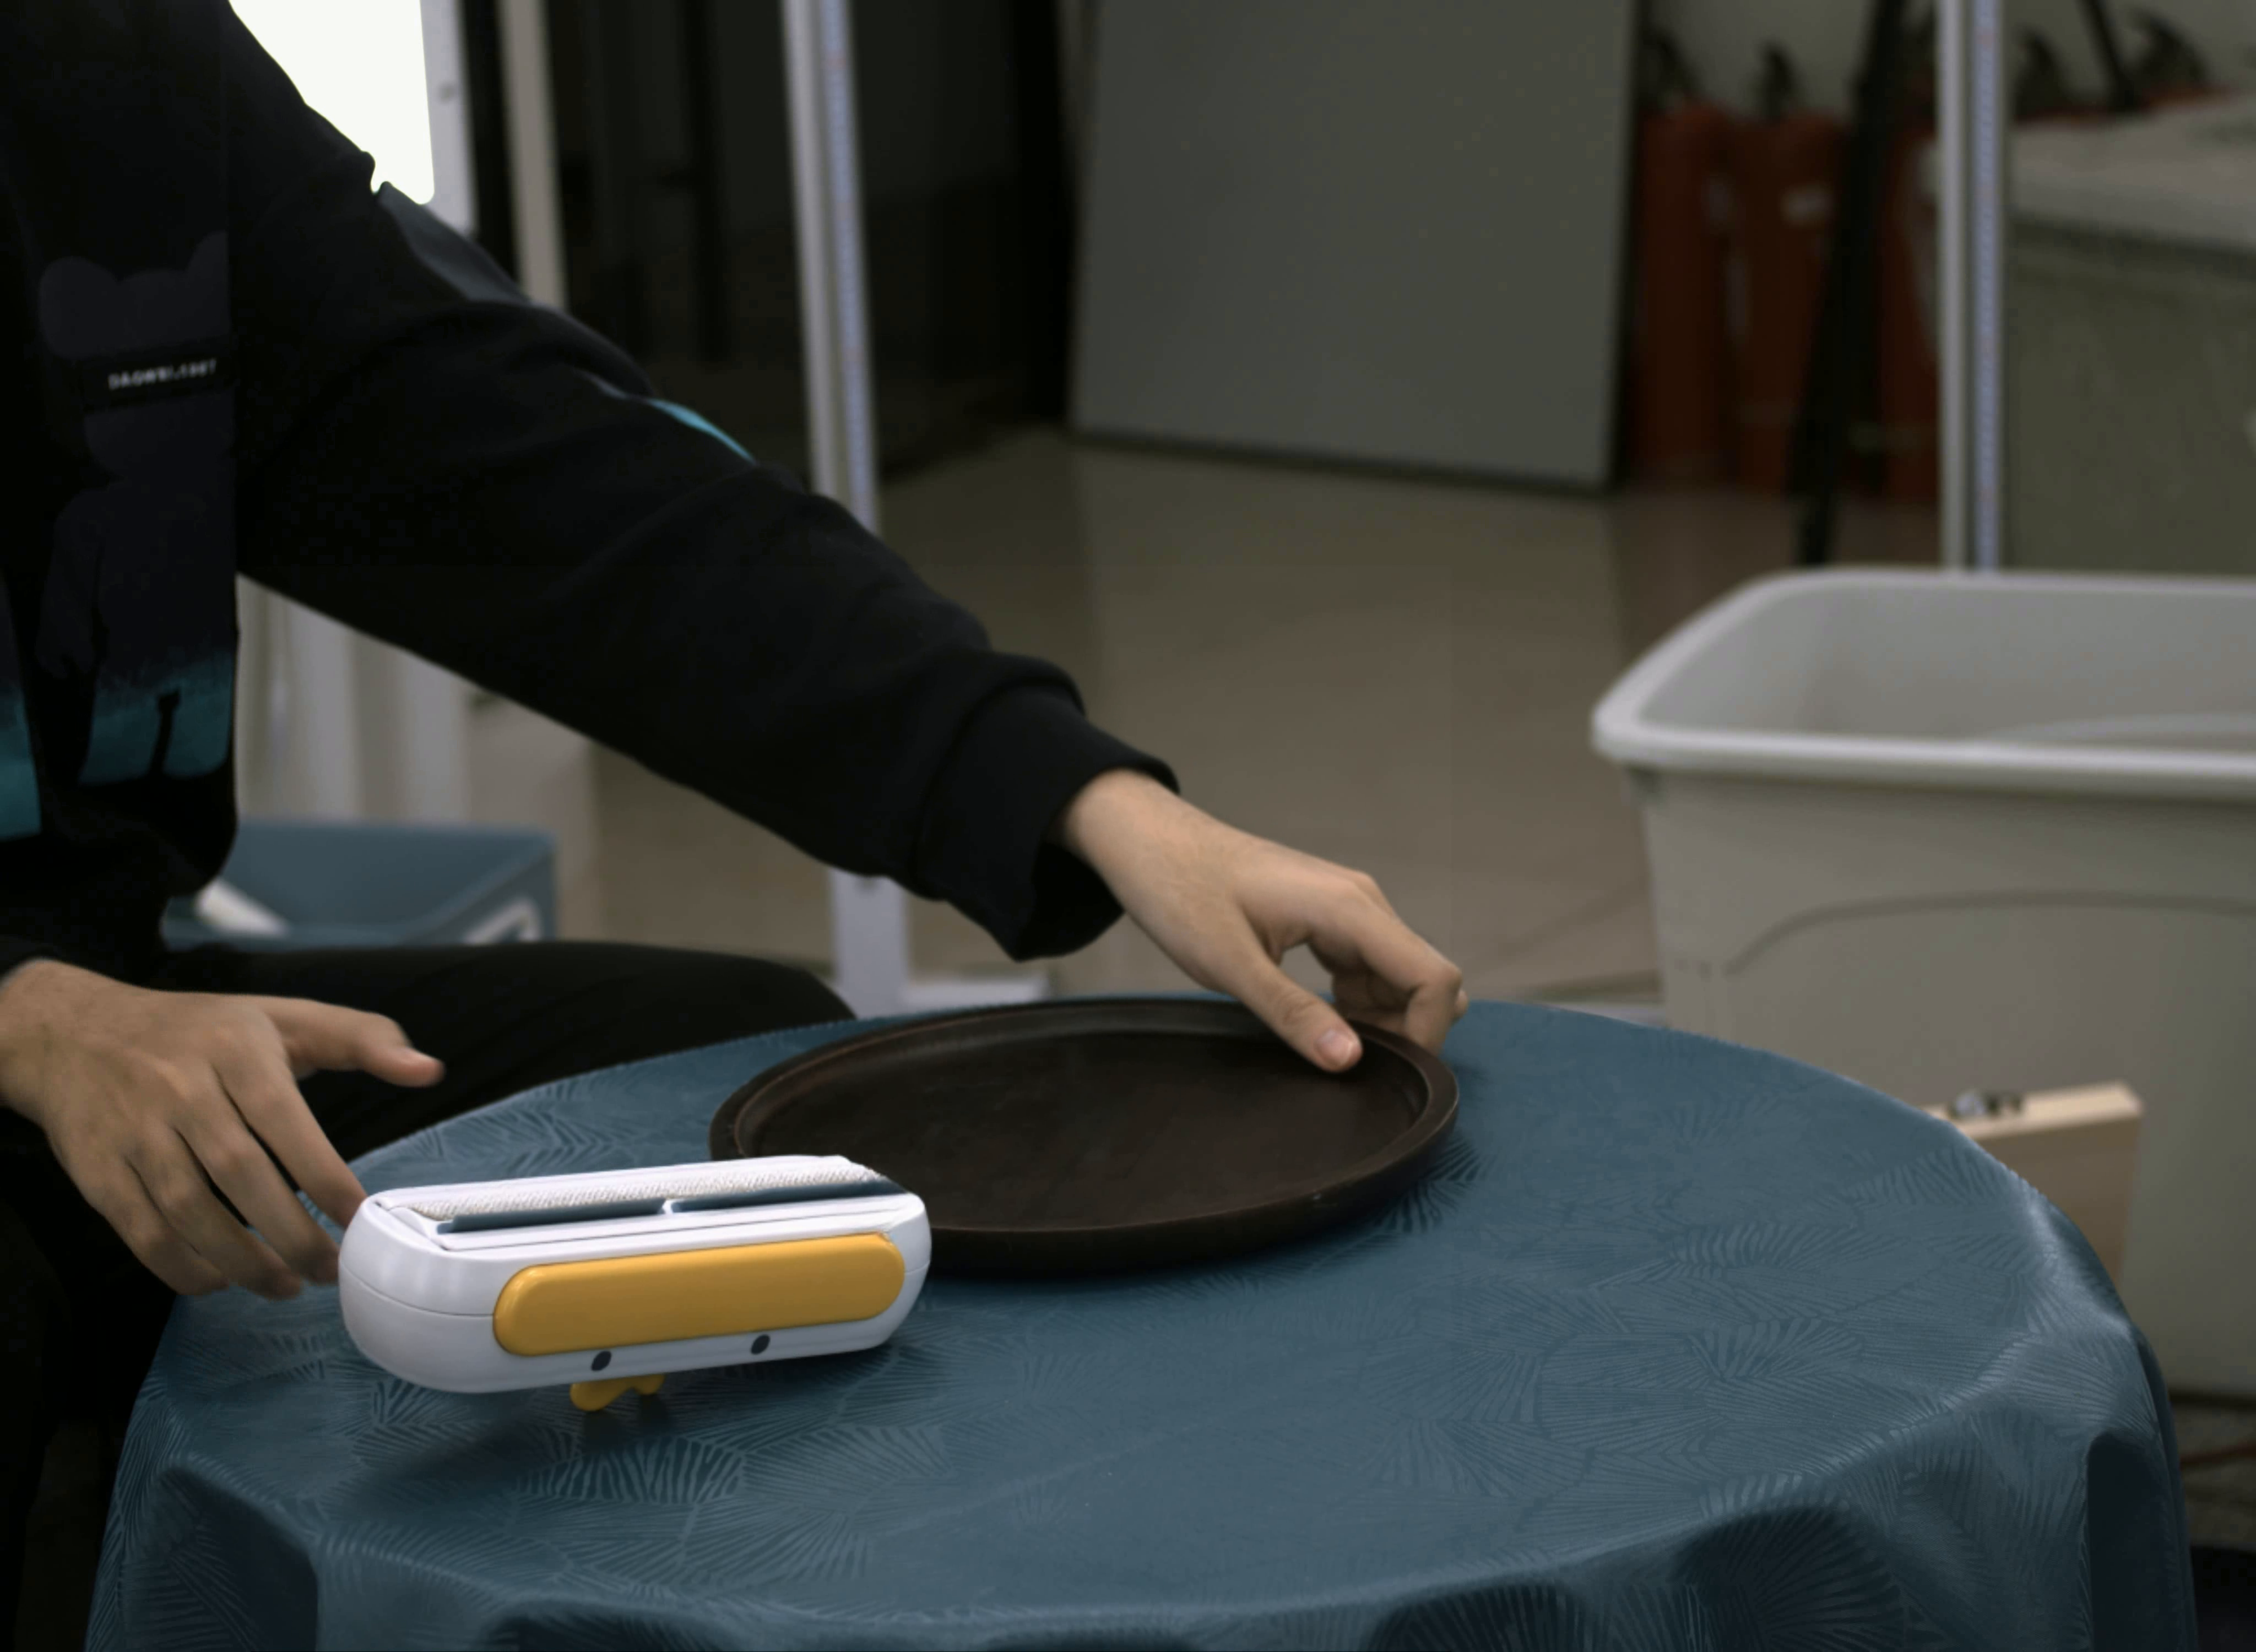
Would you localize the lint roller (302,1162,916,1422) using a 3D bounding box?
[{"bbox_3d":[-0.183,0.131,1.643,0.188,0.075,0.194,-7,11,-34],"label":"lint roller"}]

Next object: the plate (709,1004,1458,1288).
[{"bbox_3d":[-0.014,0.105,1.797,0.251,0.029,0.255,-5,13,0],"label":"plate"}]
